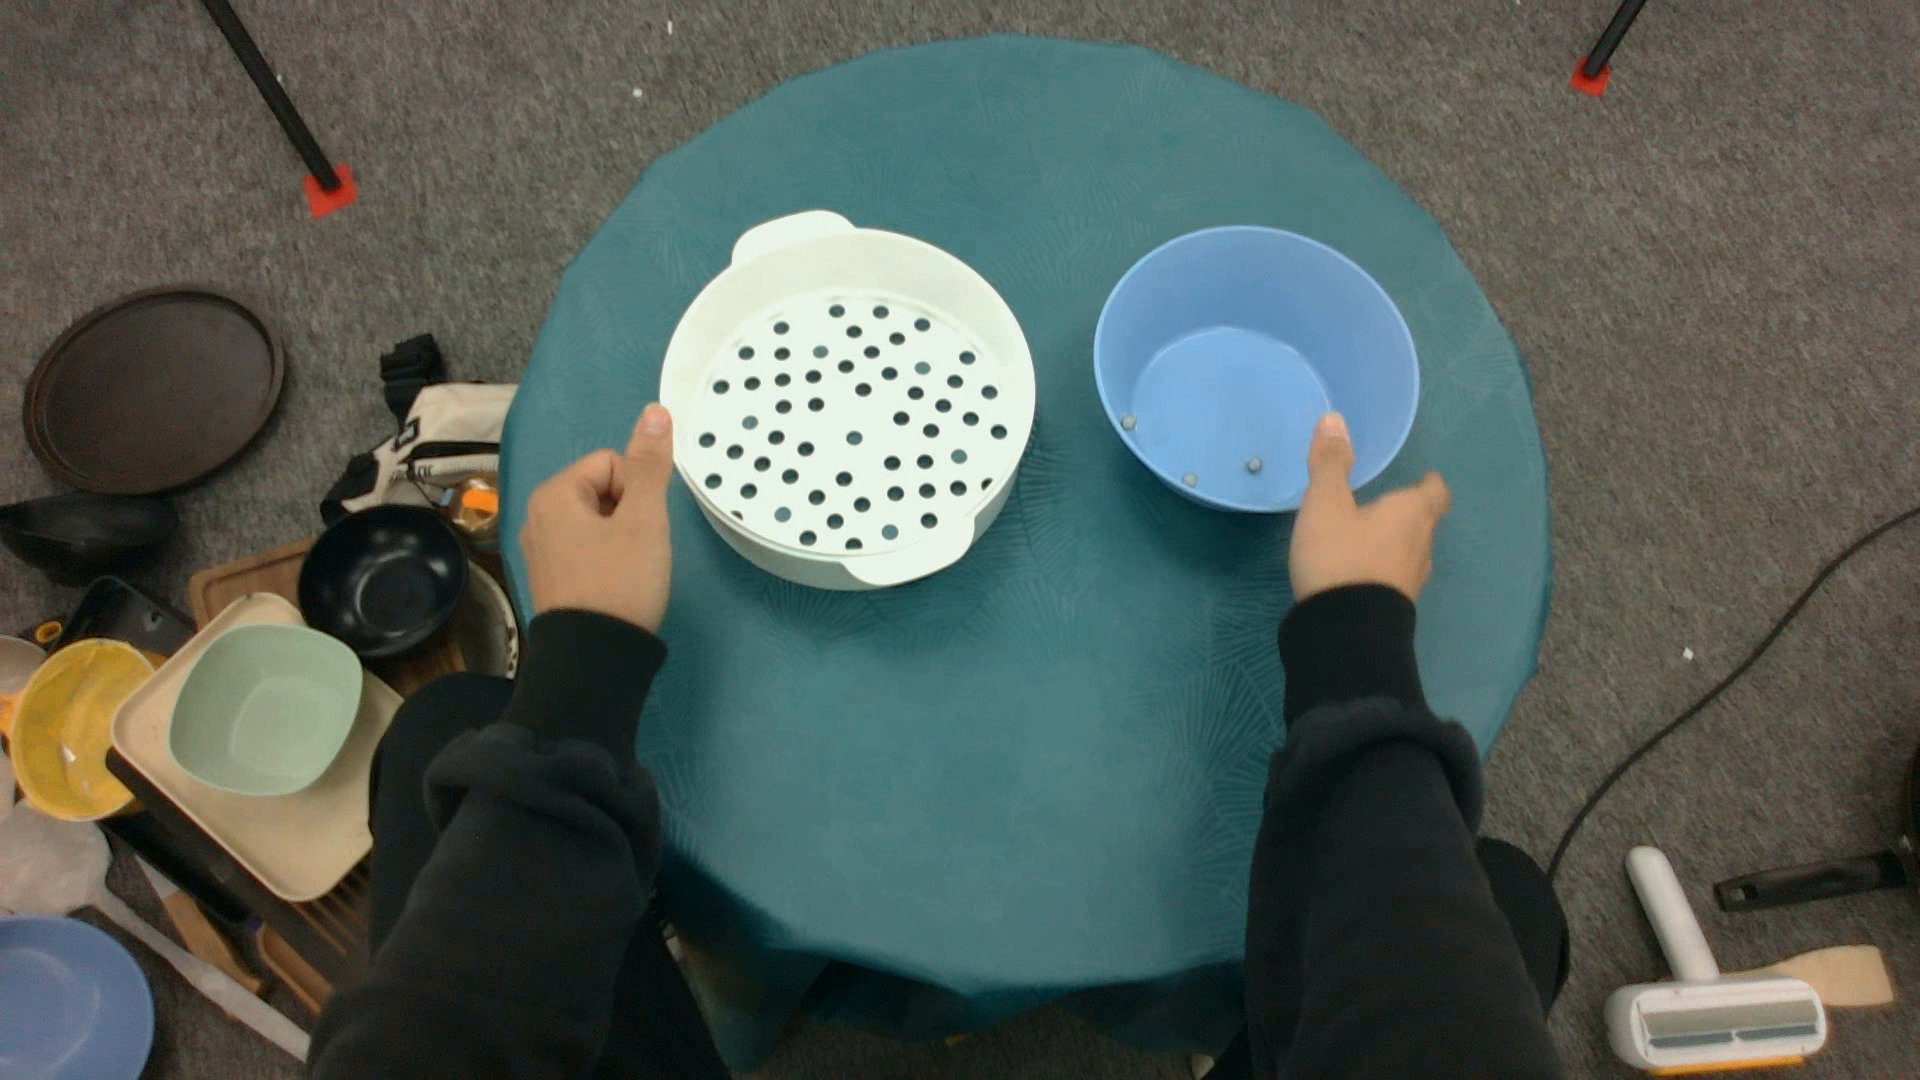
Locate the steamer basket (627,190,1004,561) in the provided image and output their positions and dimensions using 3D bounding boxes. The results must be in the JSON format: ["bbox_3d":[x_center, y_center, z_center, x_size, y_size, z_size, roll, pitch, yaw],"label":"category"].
[{"bbox_3d":[-0.078,-0.086,0.763,0.202,0.069,0.231,-19,67,-11],"label":"steamer basket"}]

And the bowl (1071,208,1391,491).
[{"bbox_3d":[0.147,-0.096,0.778,0.176,0.070,0.176,1,67,-2],"label":"bowl"}]
